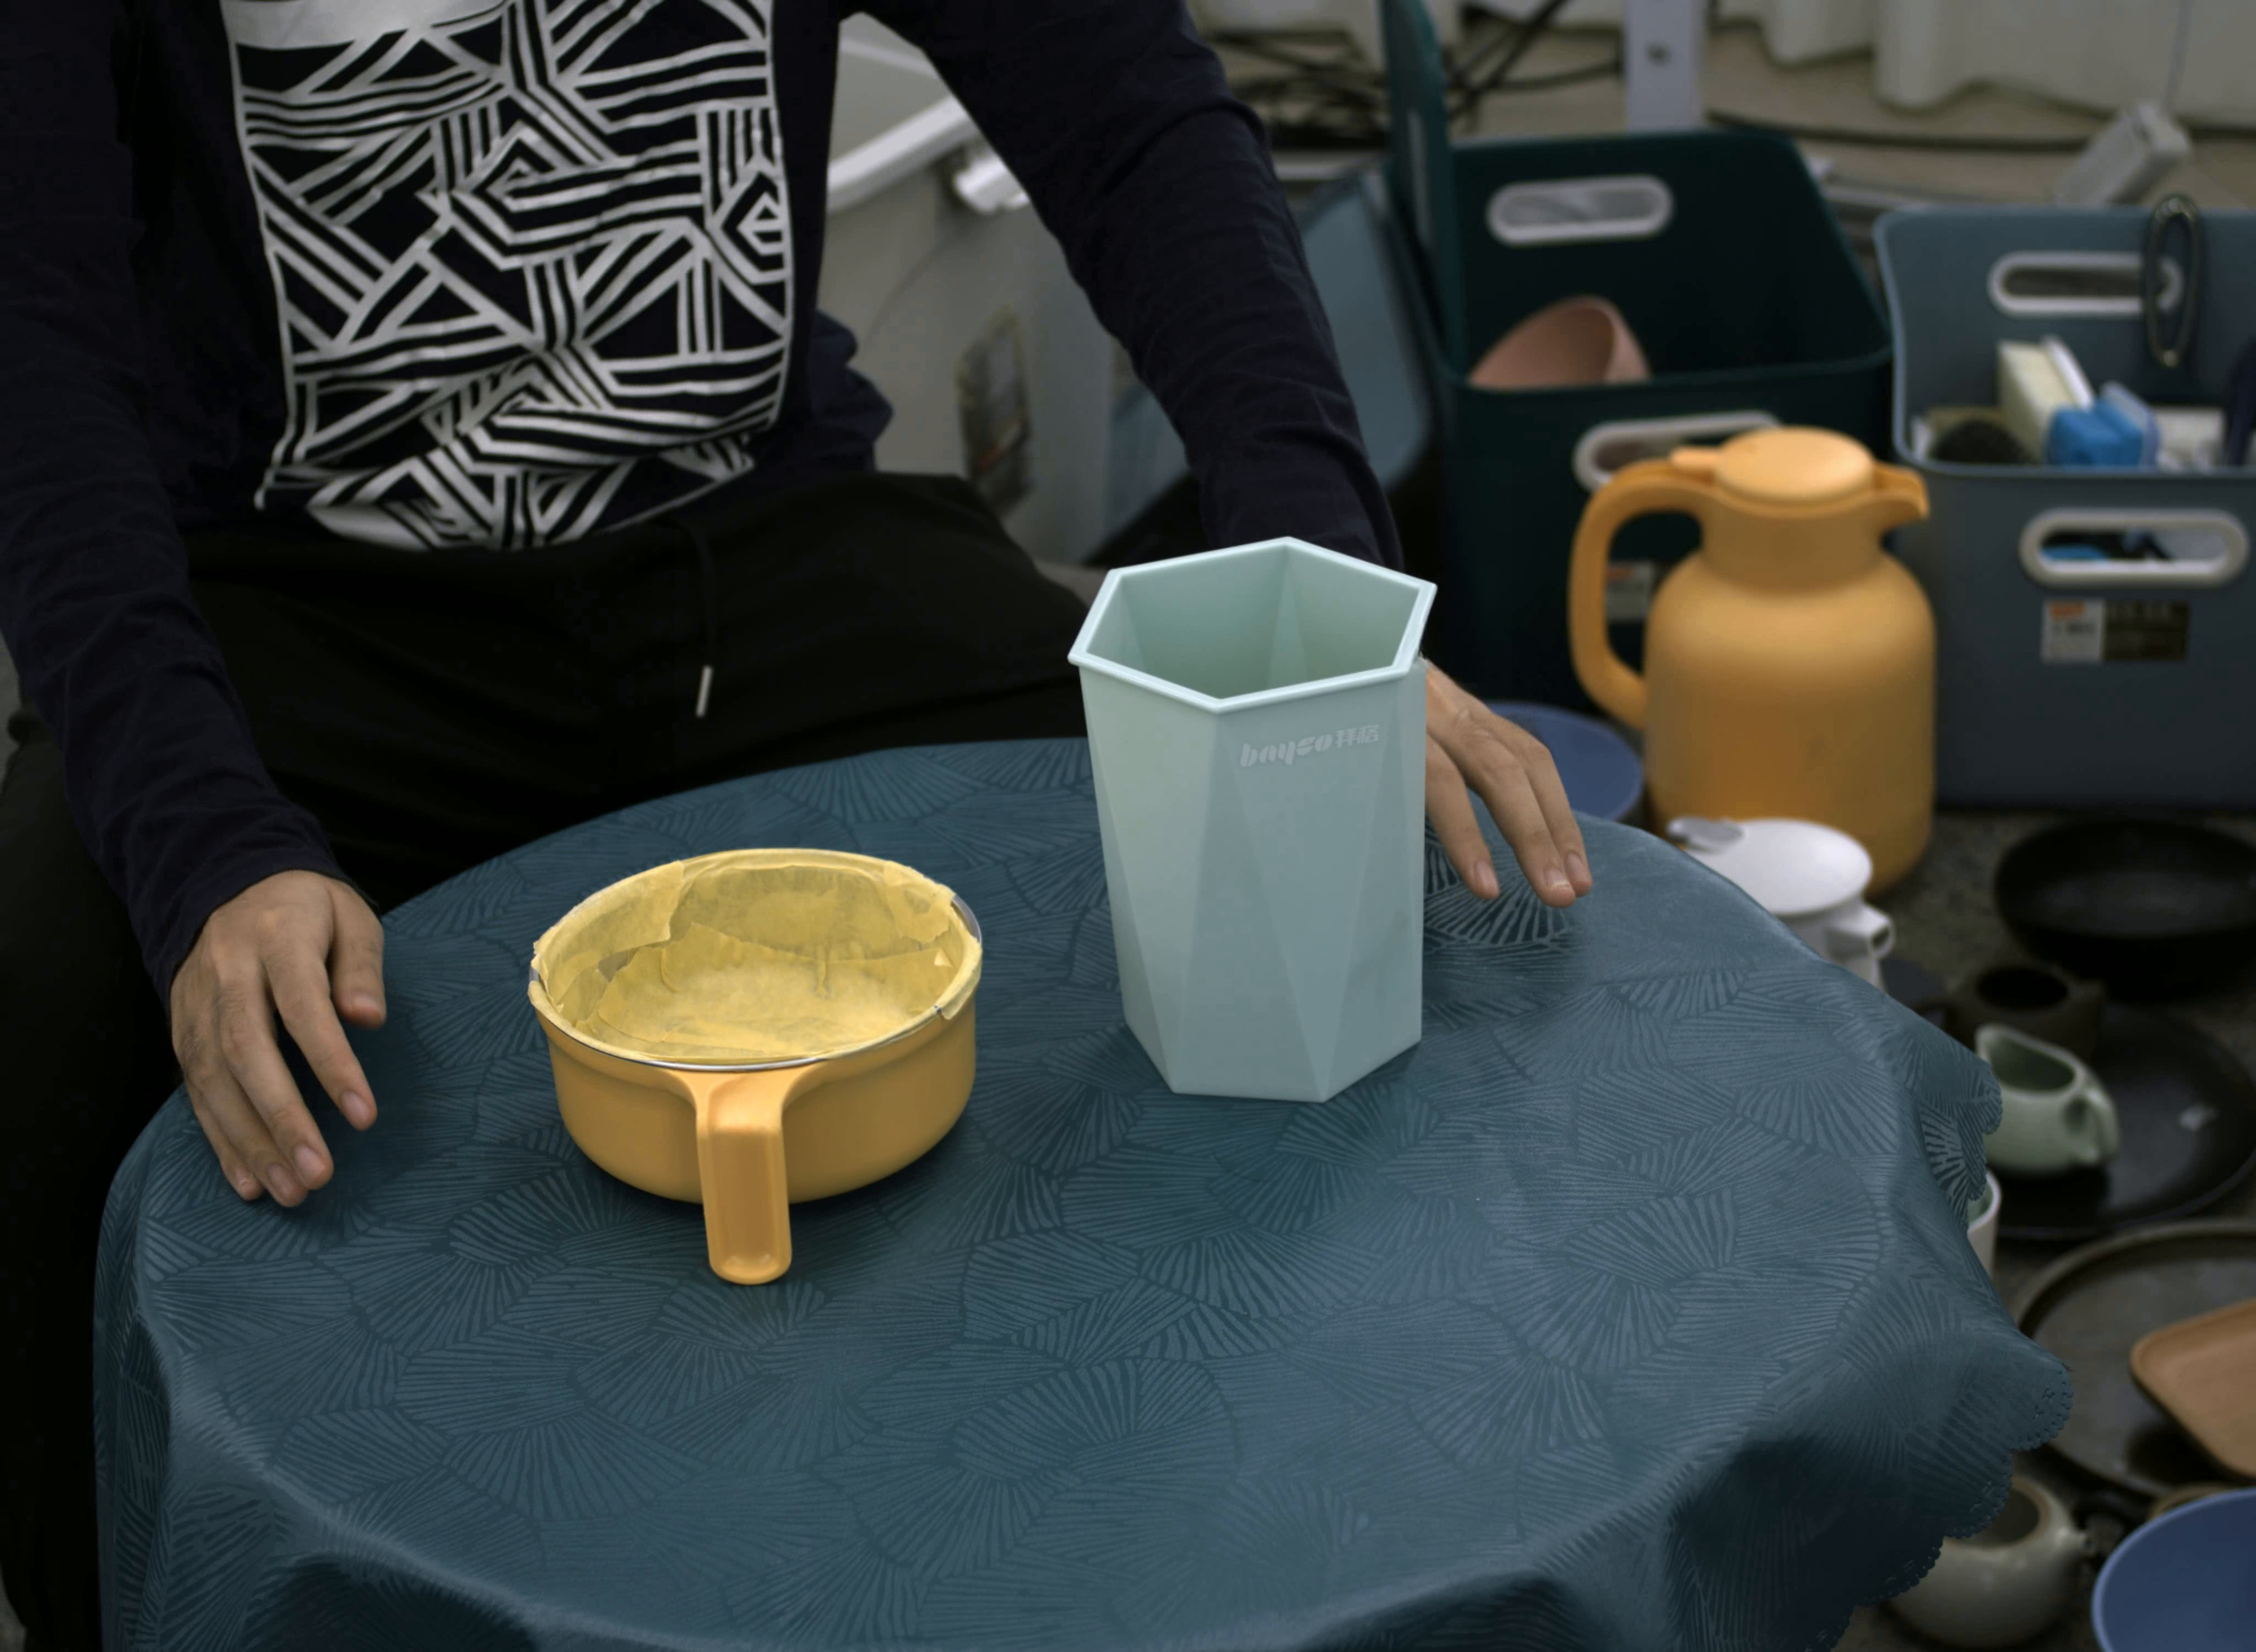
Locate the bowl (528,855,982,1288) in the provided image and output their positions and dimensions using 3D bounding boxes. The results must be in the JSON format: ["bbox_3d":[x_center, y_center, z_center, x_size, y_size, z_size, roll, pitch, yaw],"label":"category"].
[{"bbox_3d":[-0.123,0.080,1.882,0.152,0.073,0.181,-4,25,-2],"label":"bowl"}]

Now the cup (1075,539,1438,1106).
[{"bbox_3d":[0.047,0.001,1.913,0.131,0.161,0.116,-11,25,-19],"label":"cup"}]
